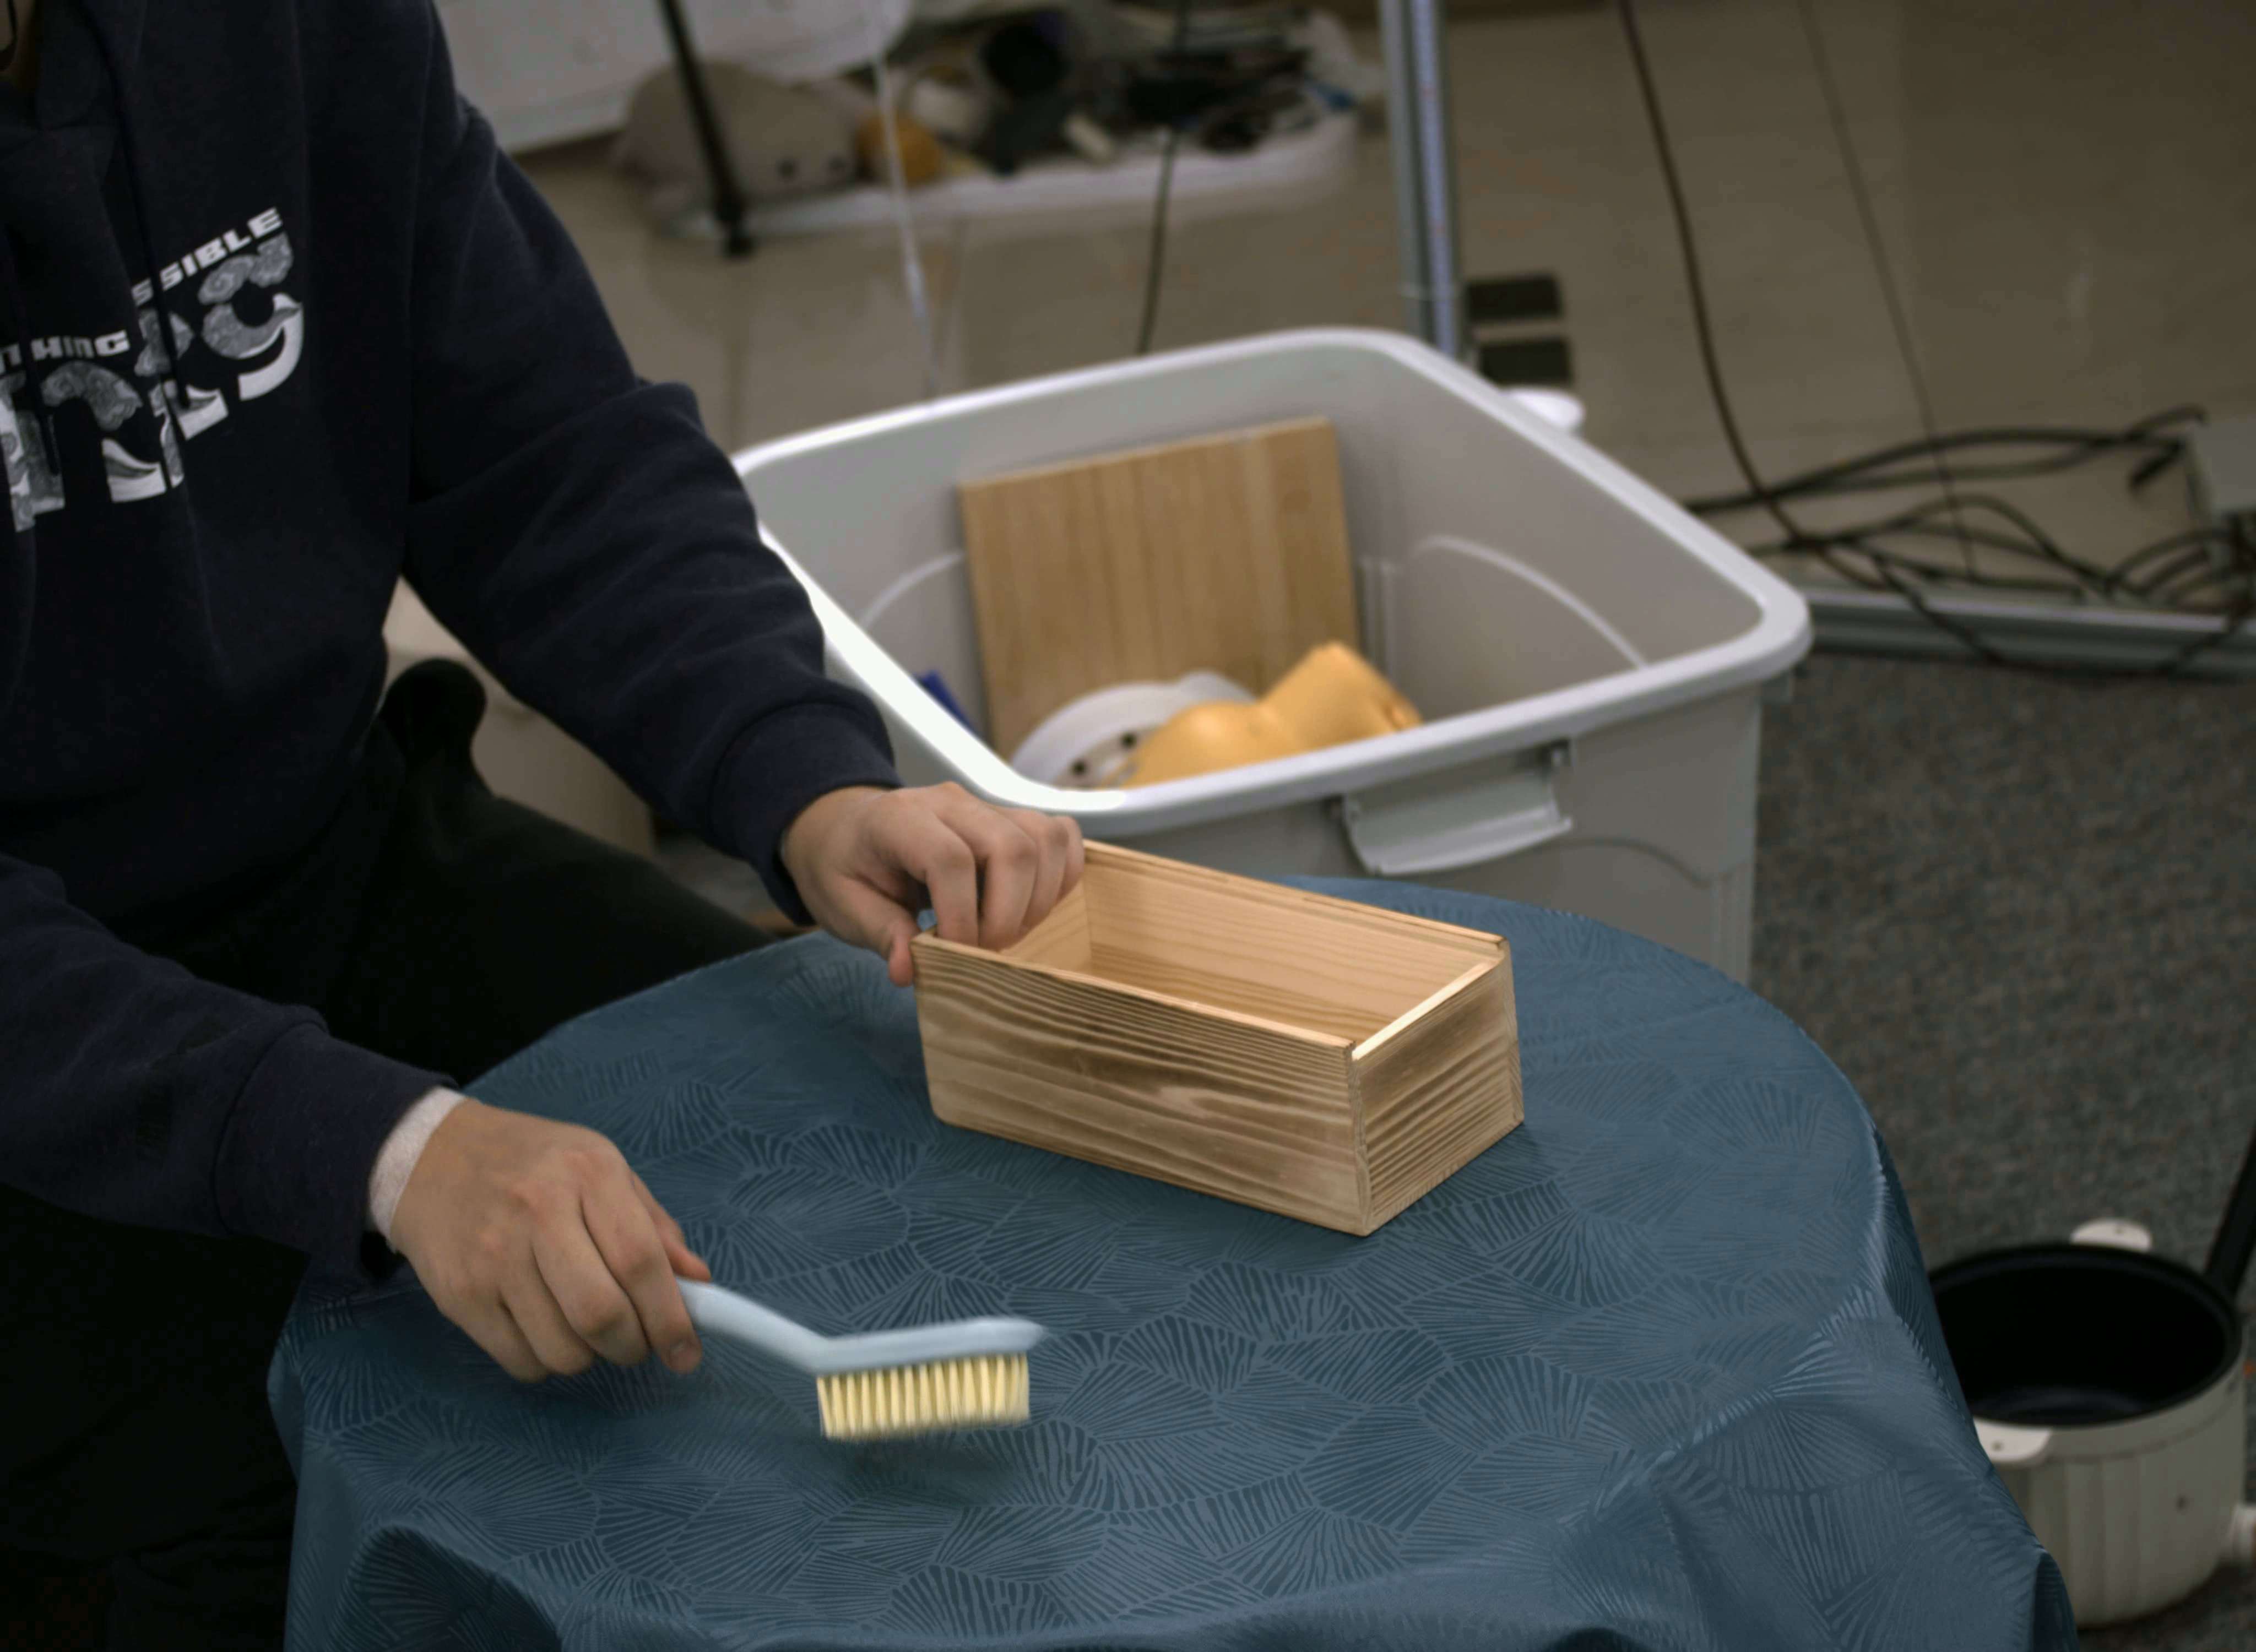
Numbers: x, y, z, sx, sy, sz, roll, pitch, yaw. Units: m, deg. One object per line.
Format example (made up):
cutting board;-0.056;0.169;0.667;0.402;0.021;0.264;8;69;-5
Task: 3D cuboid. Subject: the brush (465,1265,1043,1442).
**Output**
brush;-0.135;0.187;2.005;0.228;0.049;0.038;5;-4;25

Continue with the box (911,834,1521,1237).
box;0.033;0.078;2.176;0.210;0.081;0.106;14;31;36
